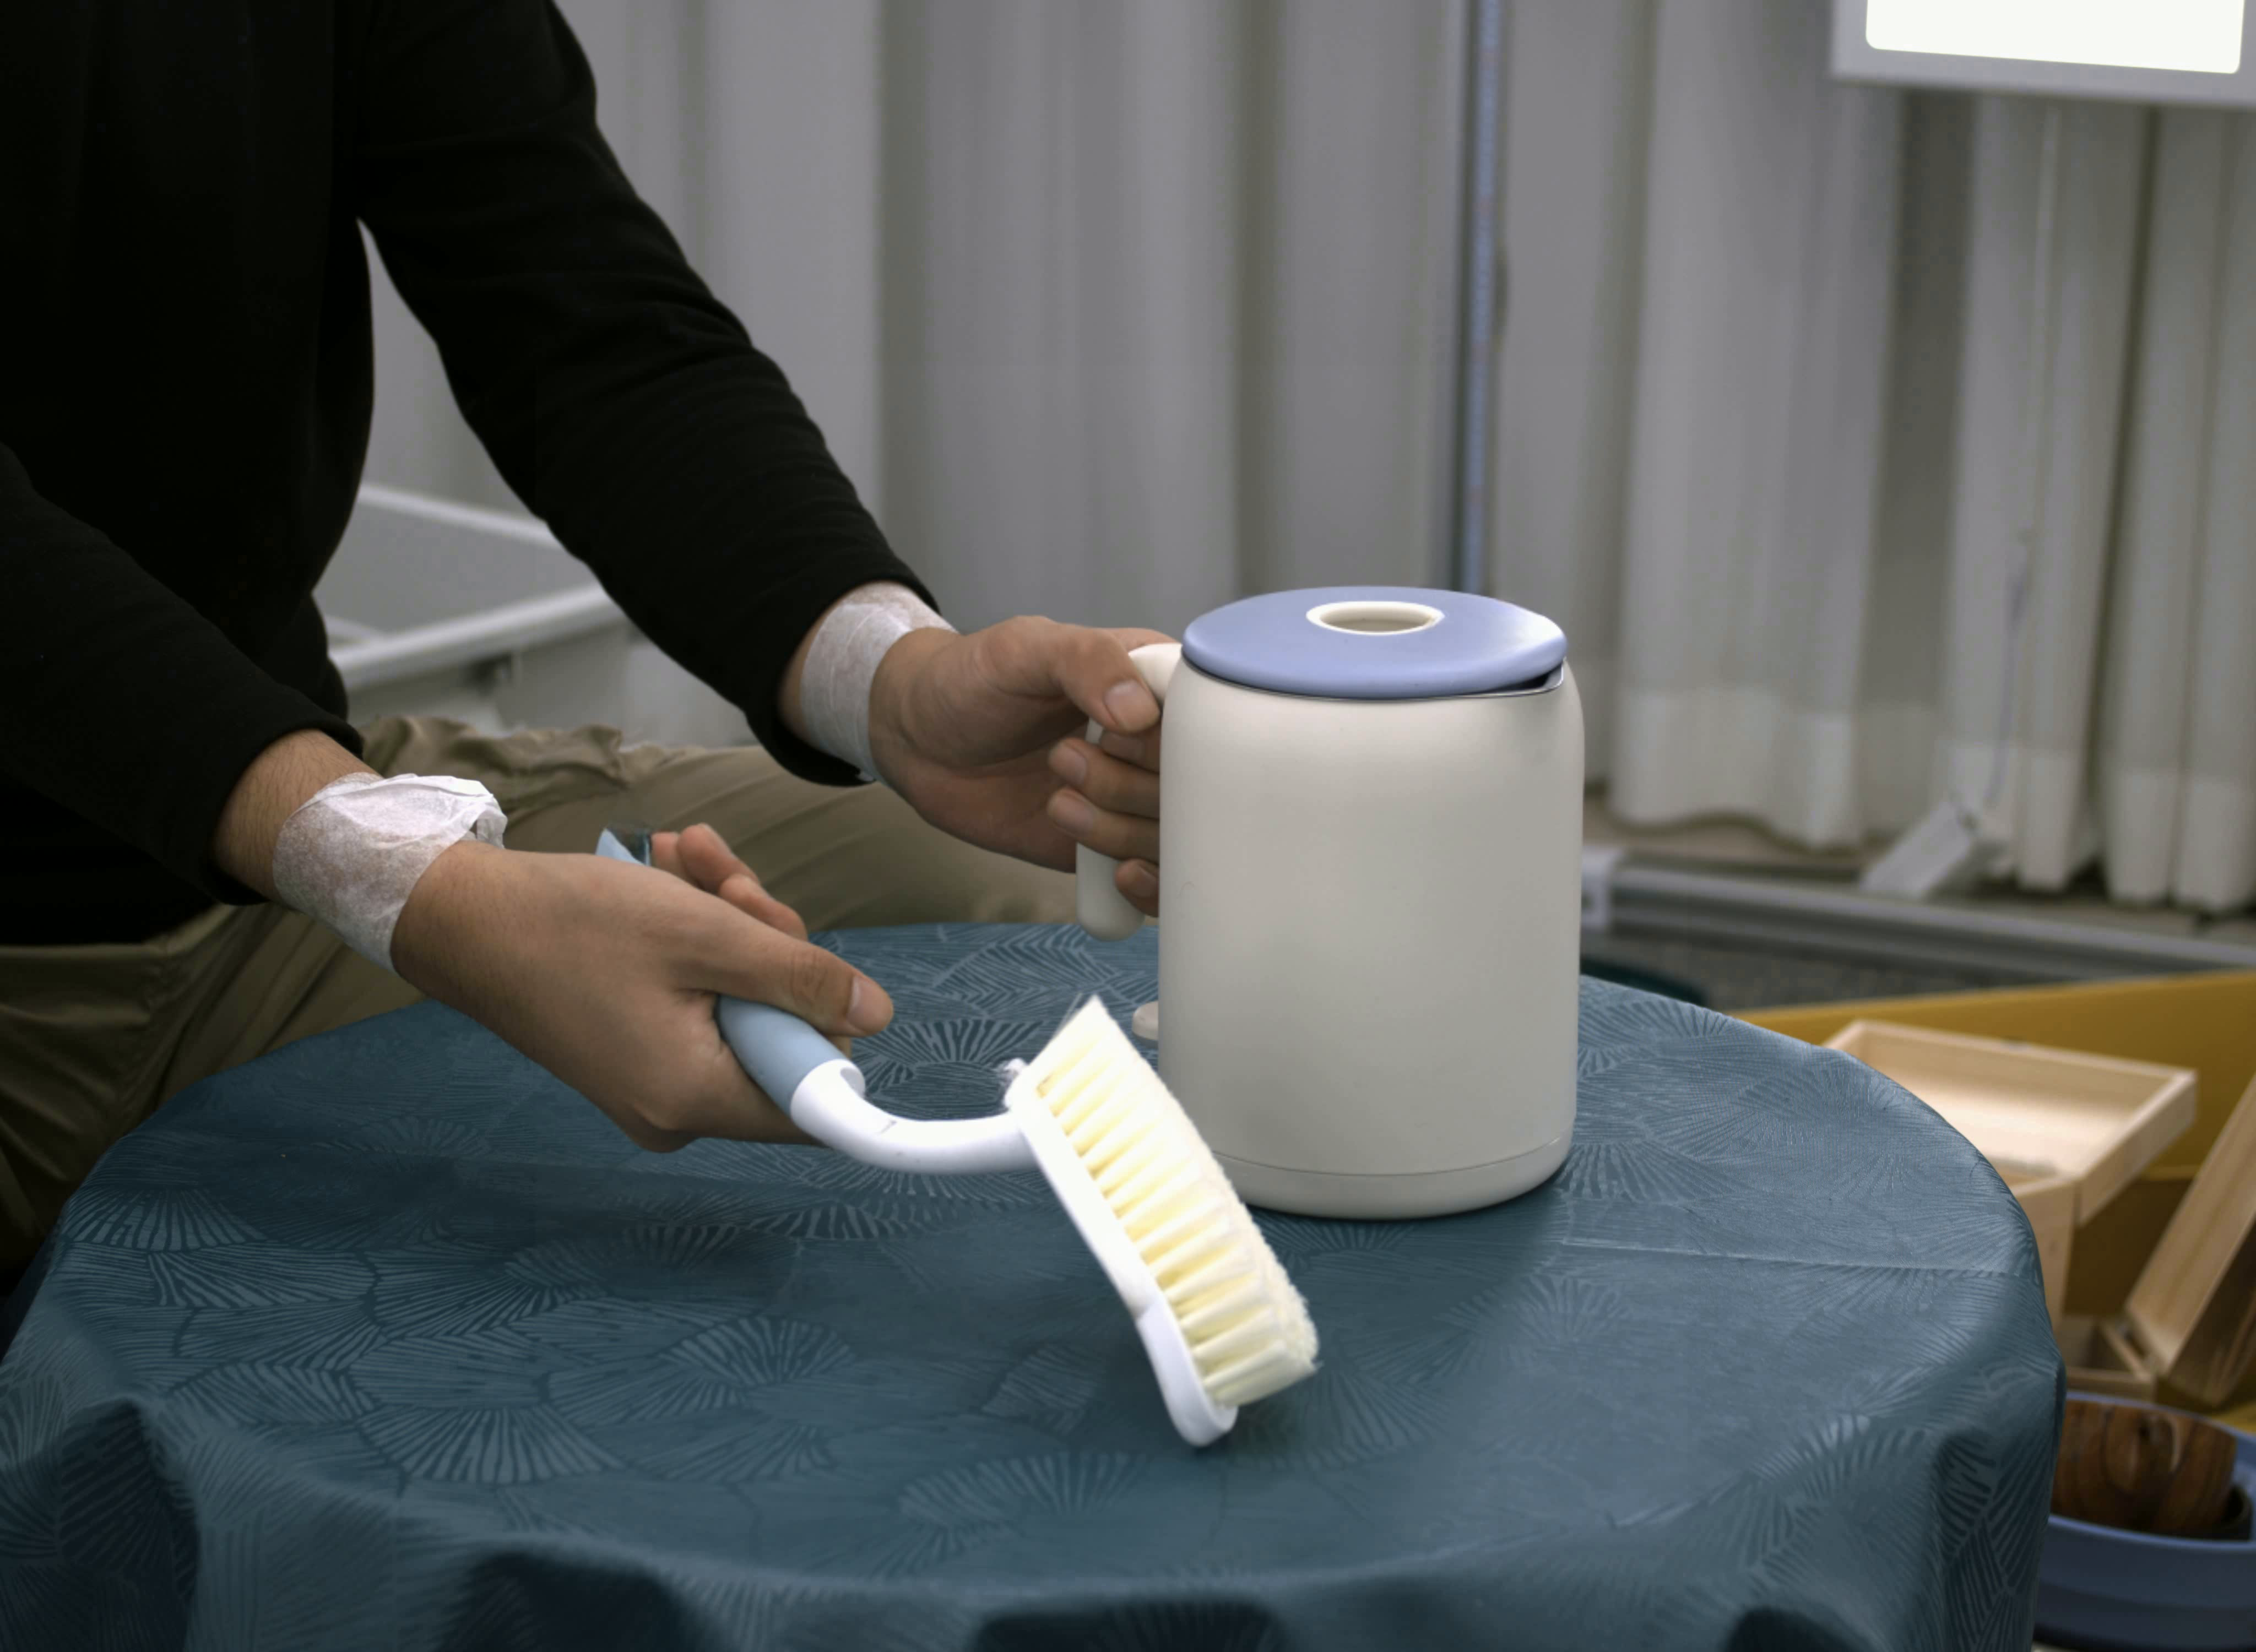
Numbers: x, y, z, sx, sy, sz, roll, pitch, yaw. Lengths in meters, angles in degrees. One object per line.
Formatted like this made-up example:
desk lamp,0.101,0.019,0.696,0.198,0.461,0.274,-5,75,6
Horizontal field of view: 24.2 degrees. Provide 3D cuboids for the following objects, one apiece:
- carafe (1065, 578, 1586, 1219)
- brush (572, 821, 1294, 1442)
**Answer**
carafe,0.056,0.017,1.643,0.188,0.184,0.133,12,19,38
brush,-0.050,0.060,1.516,0.085,0.084,0.321,-13,37,-35
